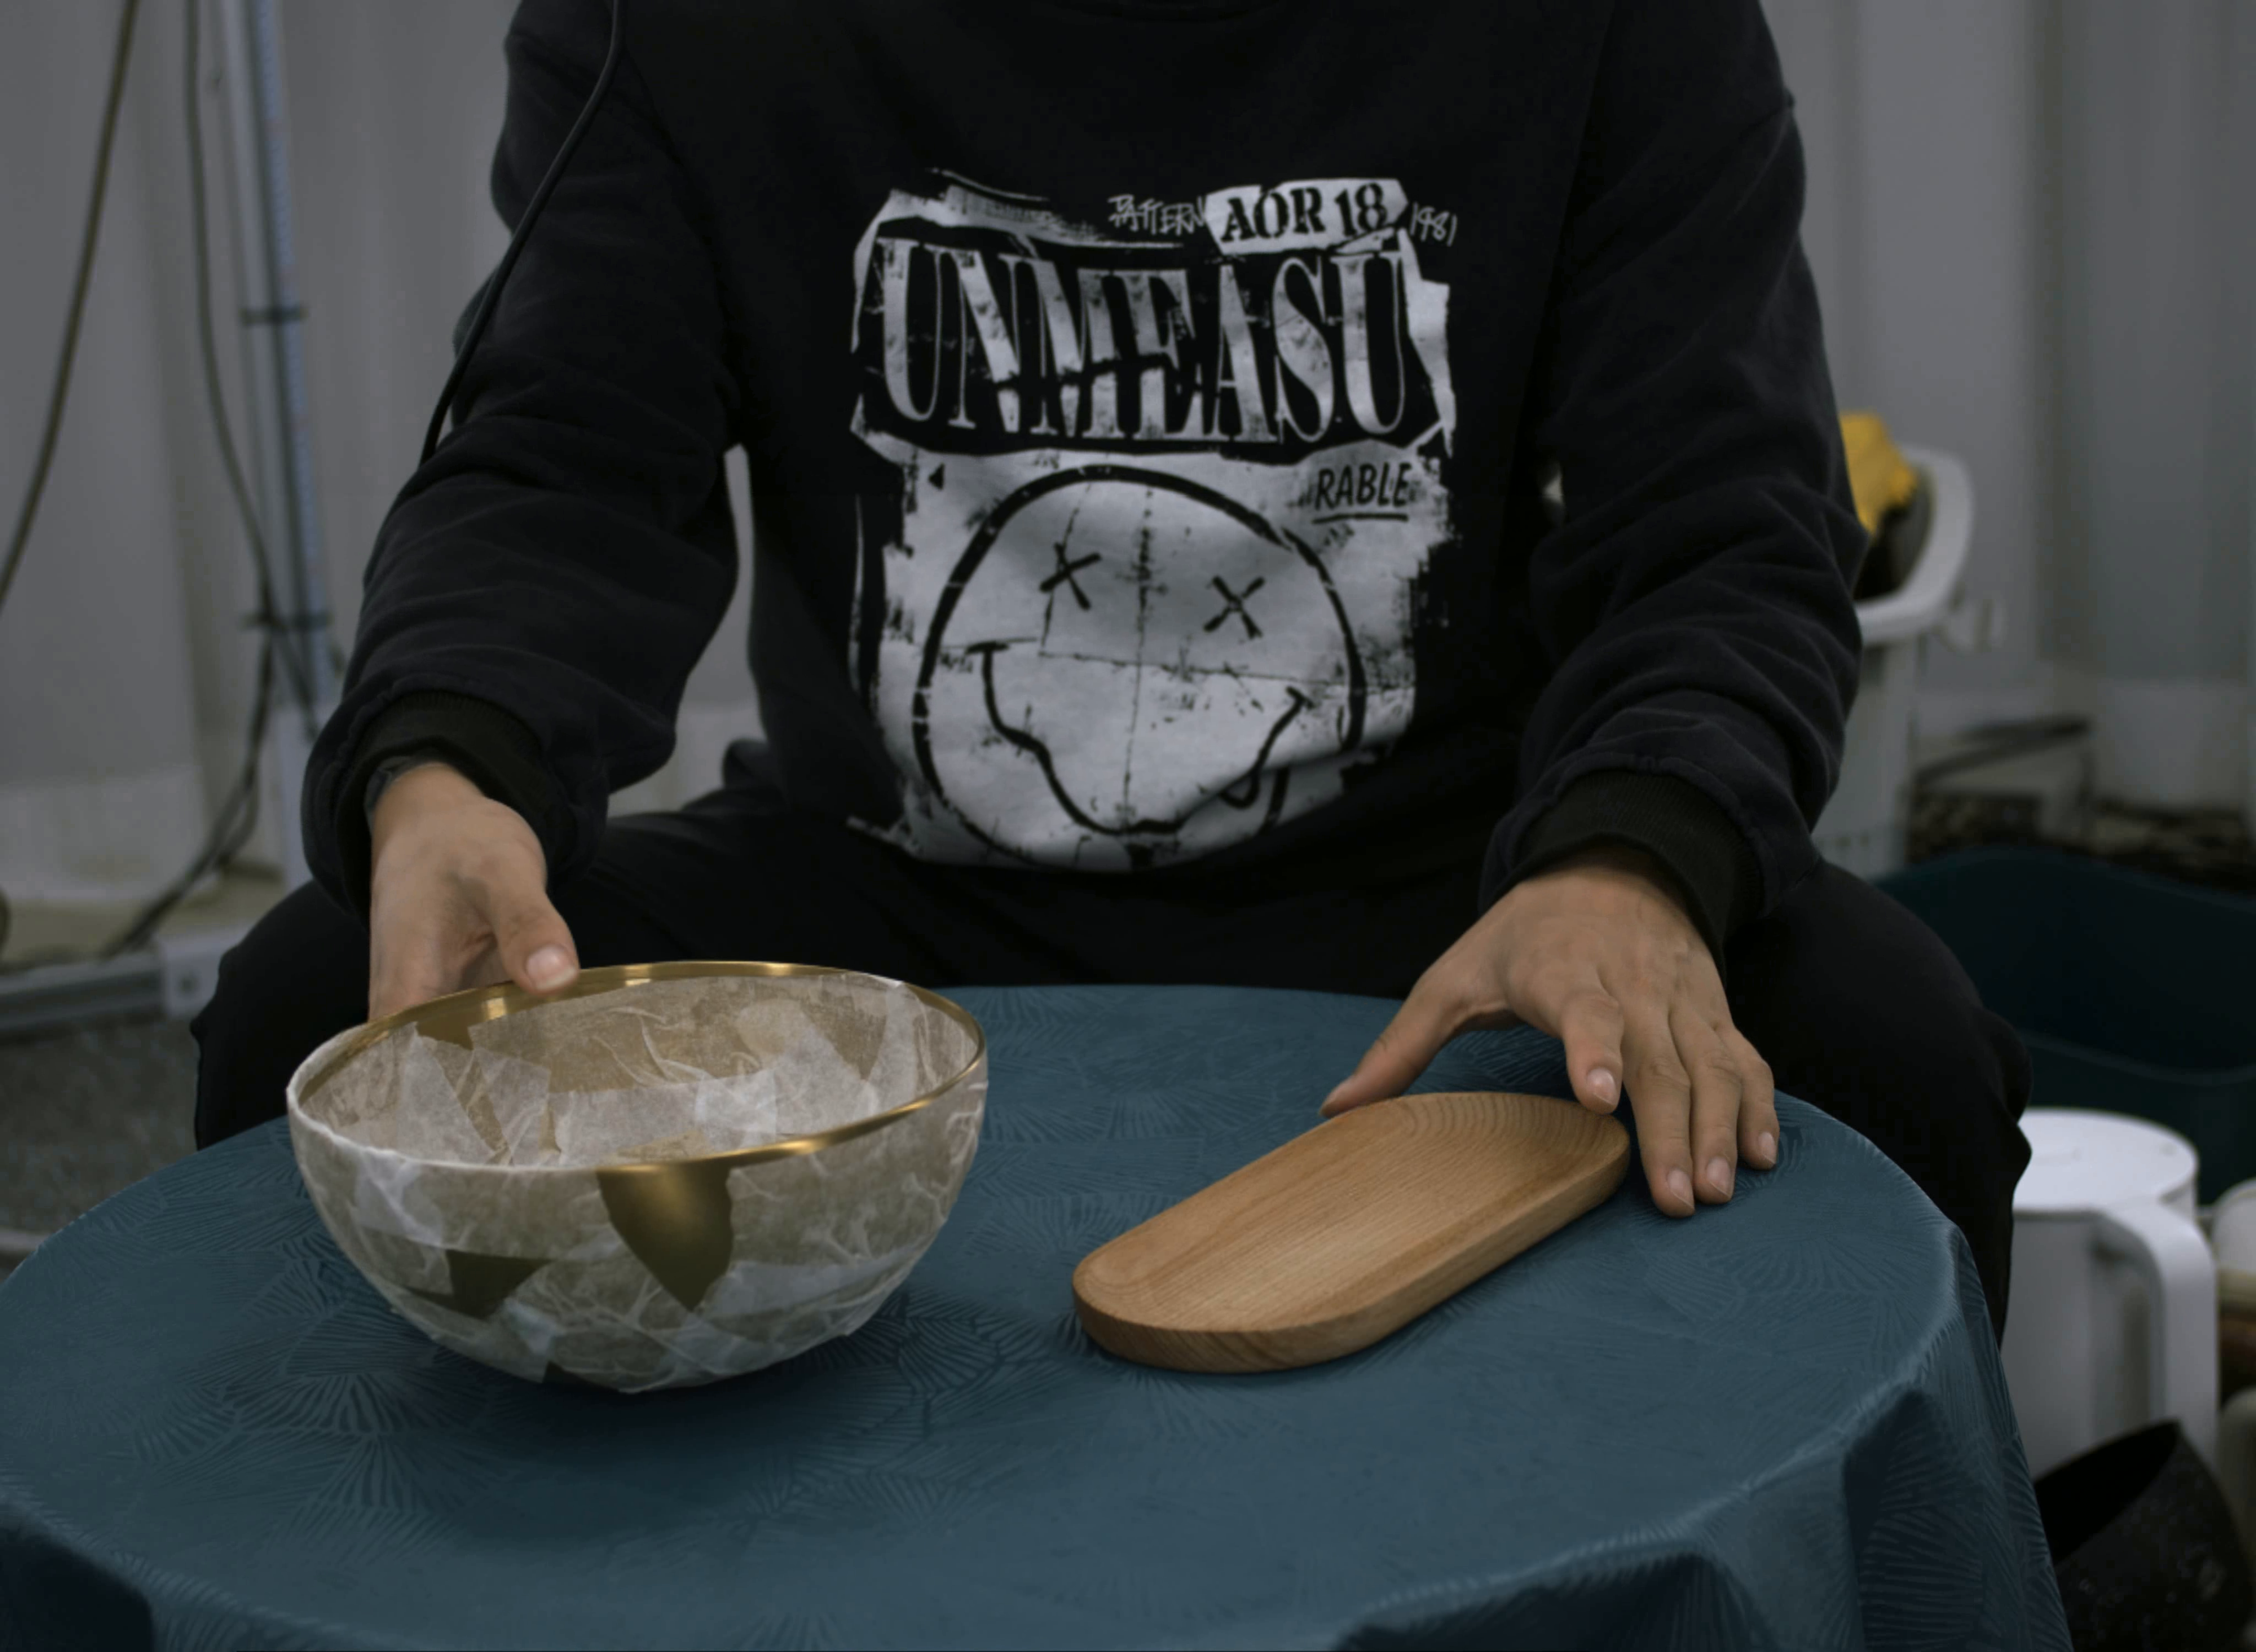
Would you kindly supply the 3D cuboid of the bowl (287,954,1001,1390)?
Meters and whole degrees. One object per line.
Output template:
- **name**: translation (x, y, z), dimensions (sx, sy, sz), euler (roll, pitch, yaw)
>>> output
- **bowl**: translation (-0.134, 0.108, 1.584), dimensions (0.214, 0.094, 0.216), euler (-4, 14, 1)

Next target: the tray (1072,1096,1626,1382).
- **tray**: translation (0.069, 0.122, 1.644), dimensions (0.102, 0.020, 0.231), euler (4, 18, 32)
